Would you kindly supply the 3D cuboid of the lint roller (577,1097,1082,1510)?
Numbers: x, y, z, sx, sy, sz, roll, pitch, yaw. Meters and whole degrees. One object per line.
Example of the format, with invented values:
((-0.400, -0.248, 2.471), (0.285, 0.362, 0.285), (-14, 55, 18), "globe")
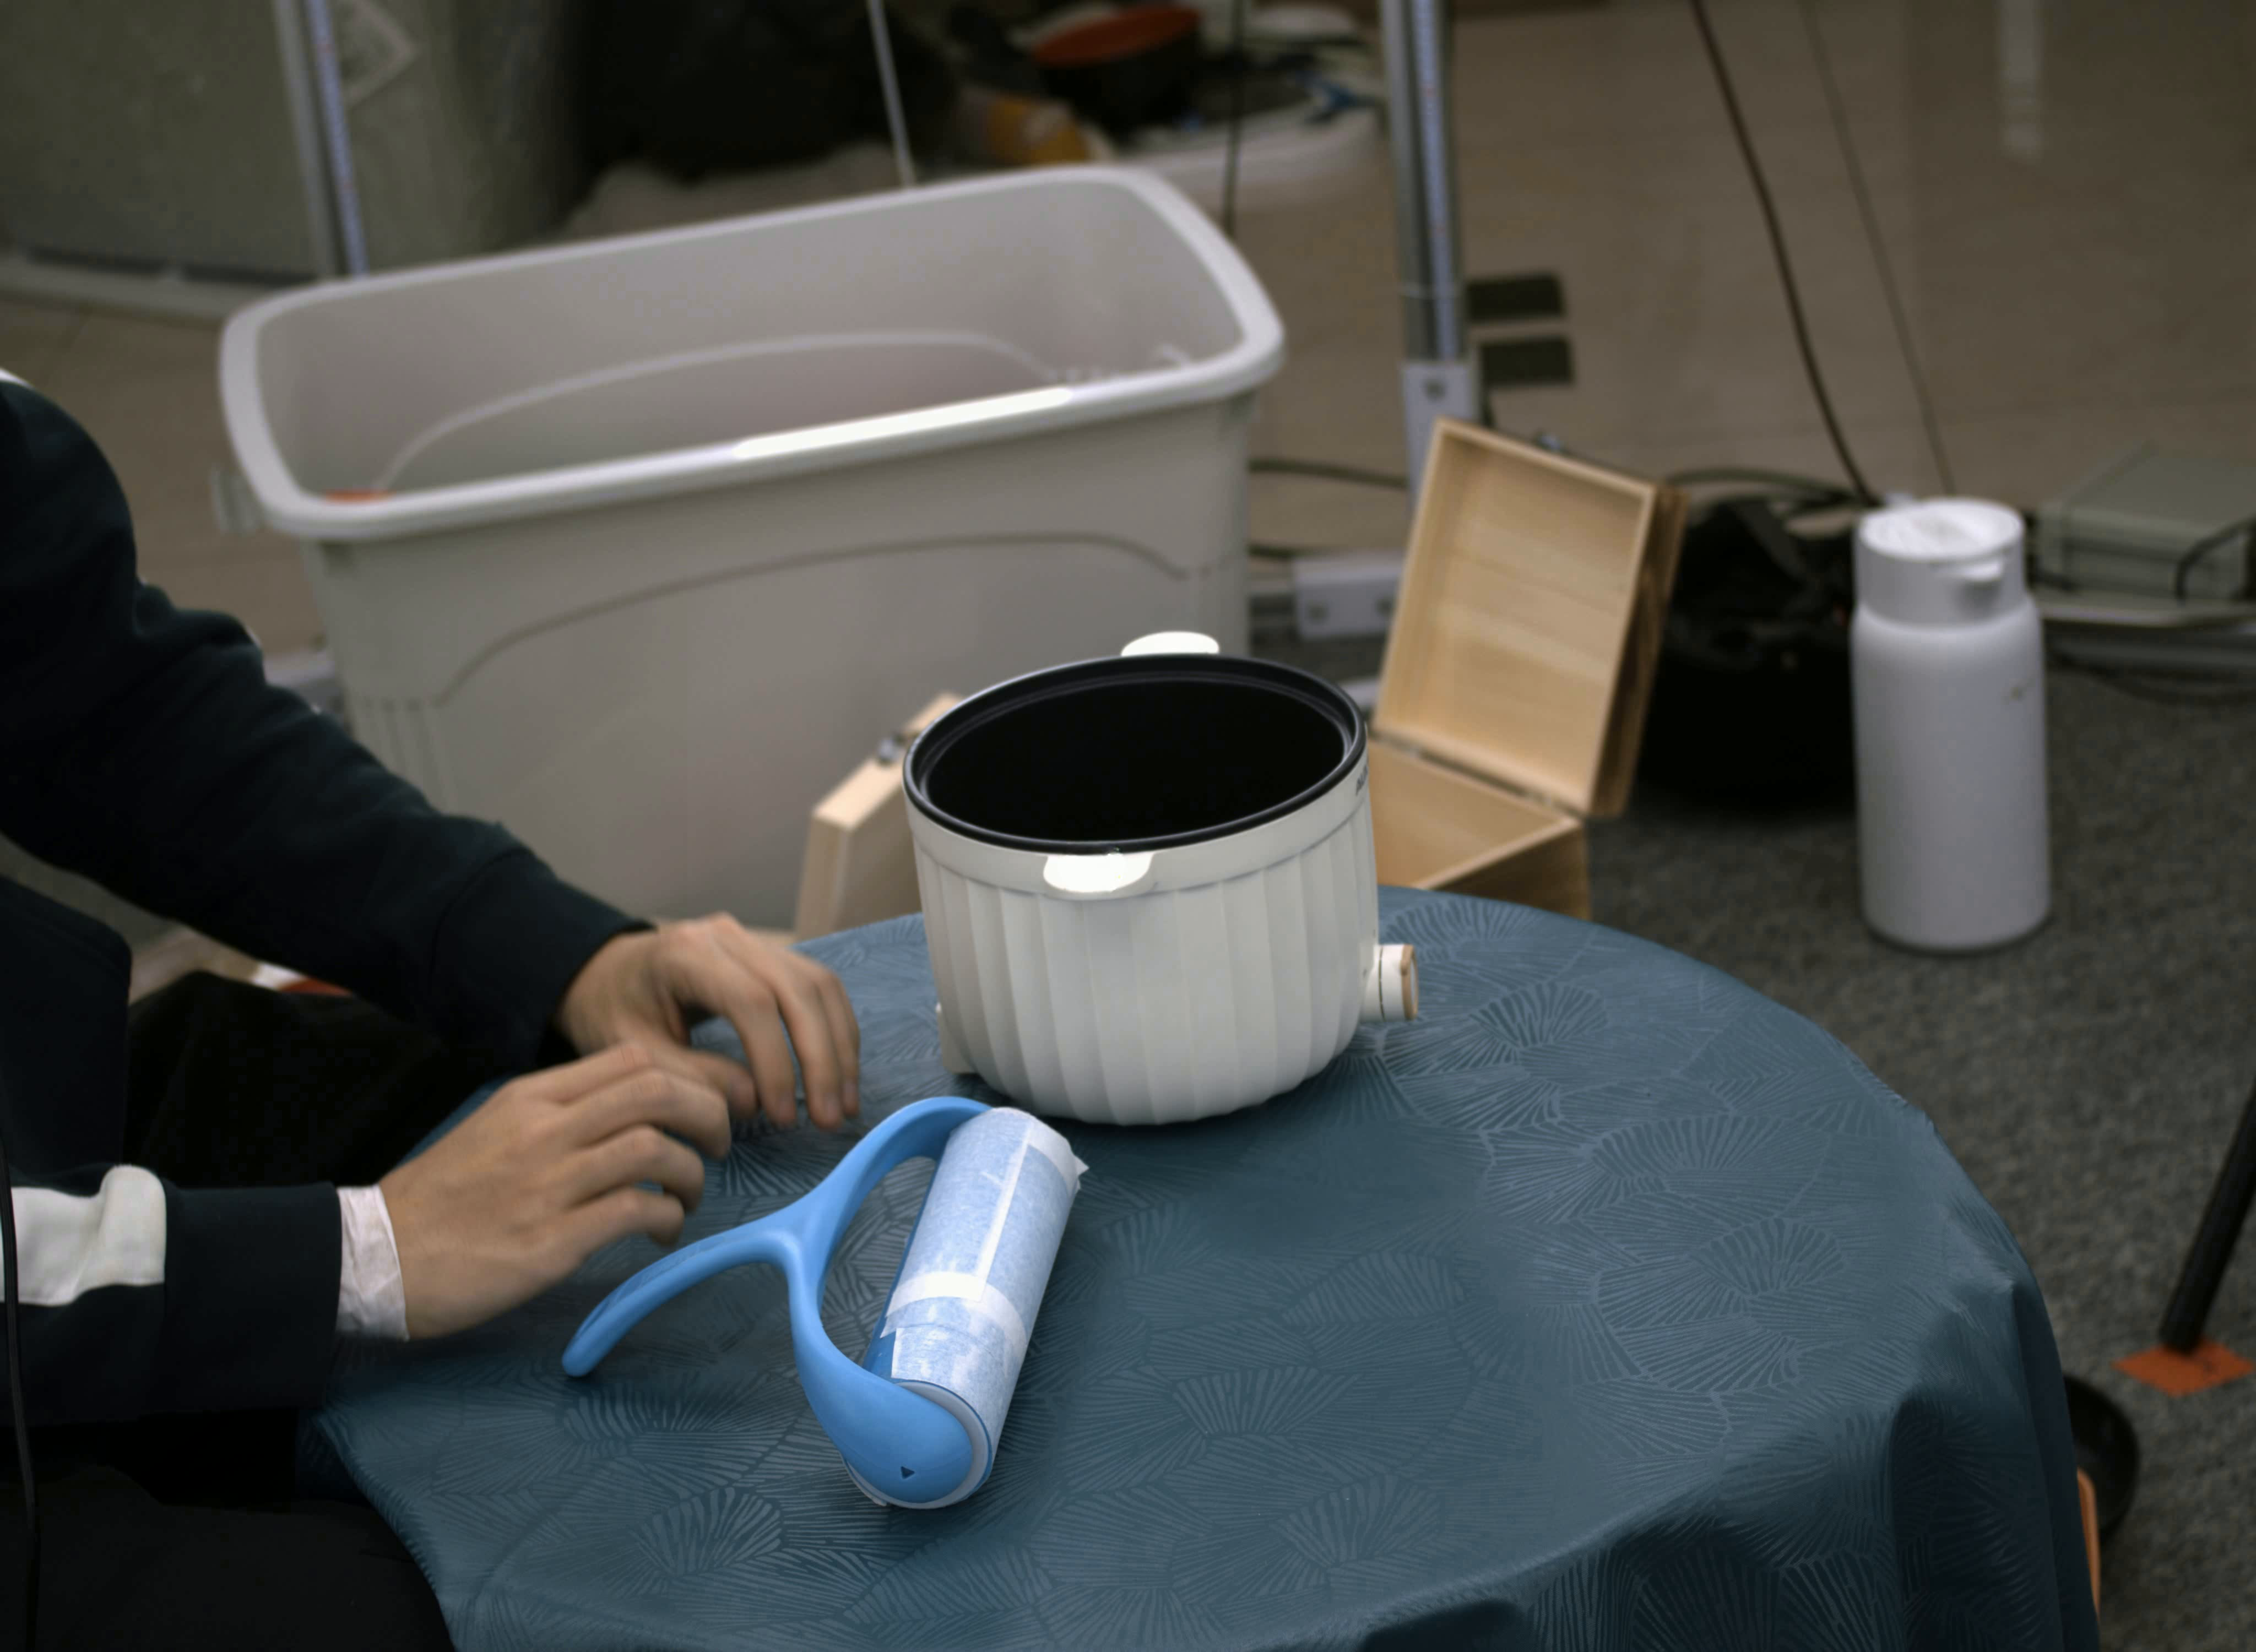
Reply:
((-0.114, 0.172, 2.034), (0.180, 0.069, 0.225), (-3, 27, 6), "lint roller")

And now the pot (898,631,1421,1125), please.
((0.014, 0.027, 2.213), (0.190, 0.145, 0.237), (-5, 26, 10), "pot")
